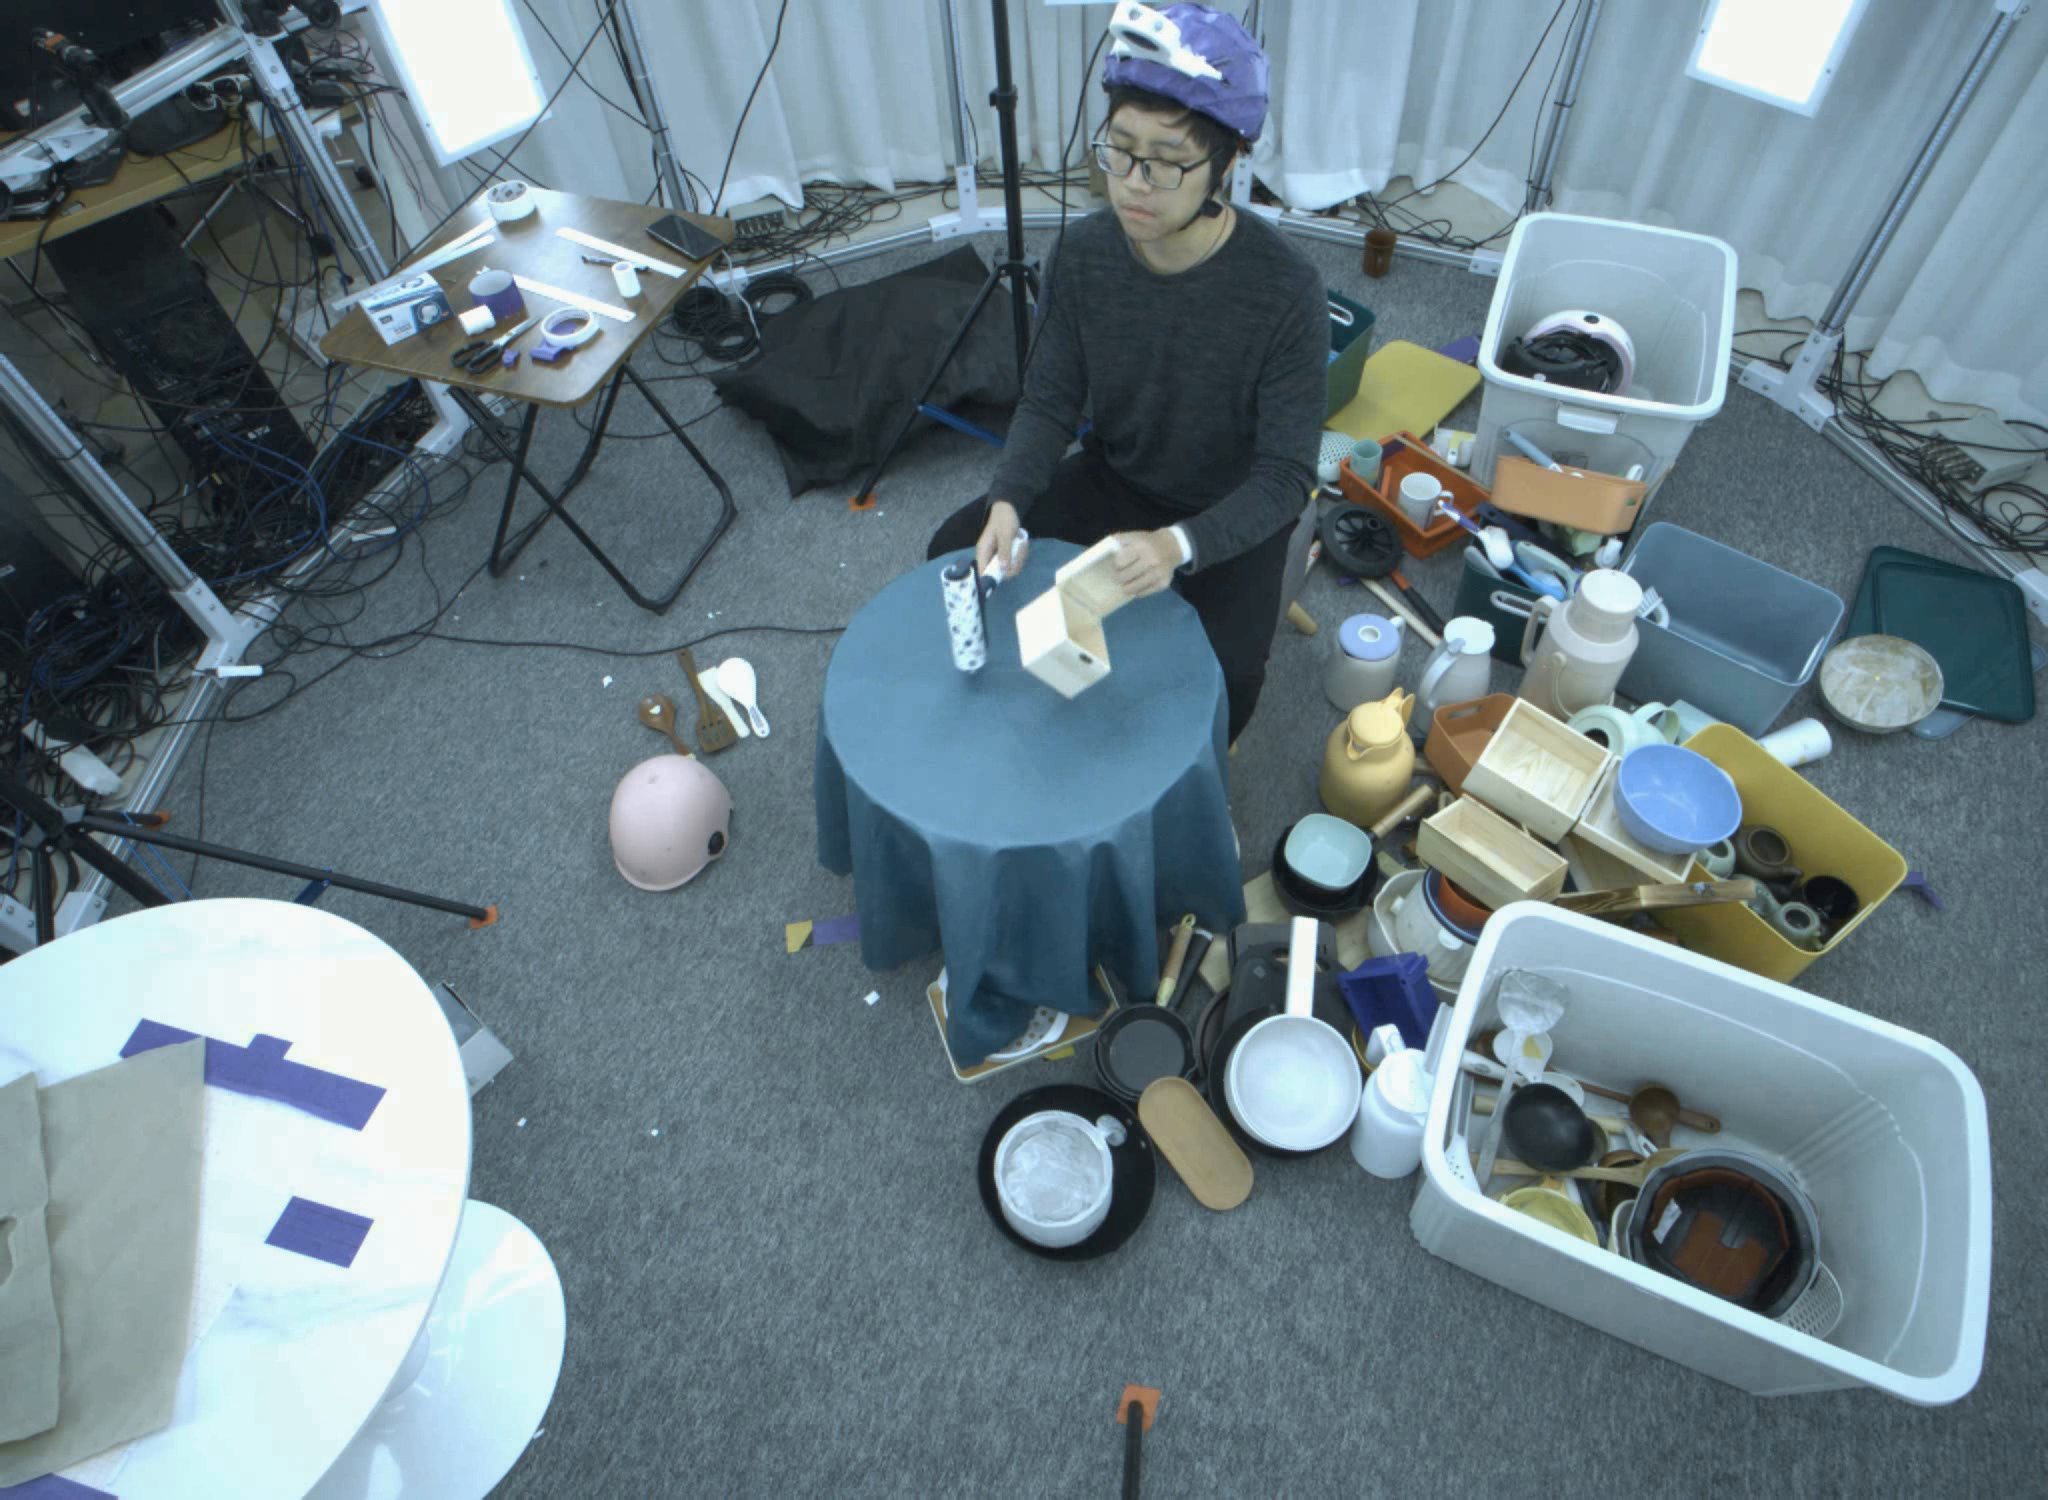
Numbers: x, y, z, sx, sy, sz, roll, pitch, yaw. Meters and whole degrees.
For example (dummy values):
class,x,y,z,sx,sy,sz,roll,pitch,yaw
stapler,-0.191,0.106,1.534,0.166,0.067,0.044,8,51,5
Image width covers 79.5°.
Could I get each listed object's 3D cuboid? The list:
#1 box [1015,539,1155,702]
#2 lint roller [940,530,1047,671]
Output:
class,x,y,z,sx,sy,sz,roll,pitch,yaw
box,0.091,-0.178,1.715,0.182,0.105,0.132,-33,48,27
lint roller,-0.045,-0.252,1.846,0.050,0.178,0.248,24,58,17
